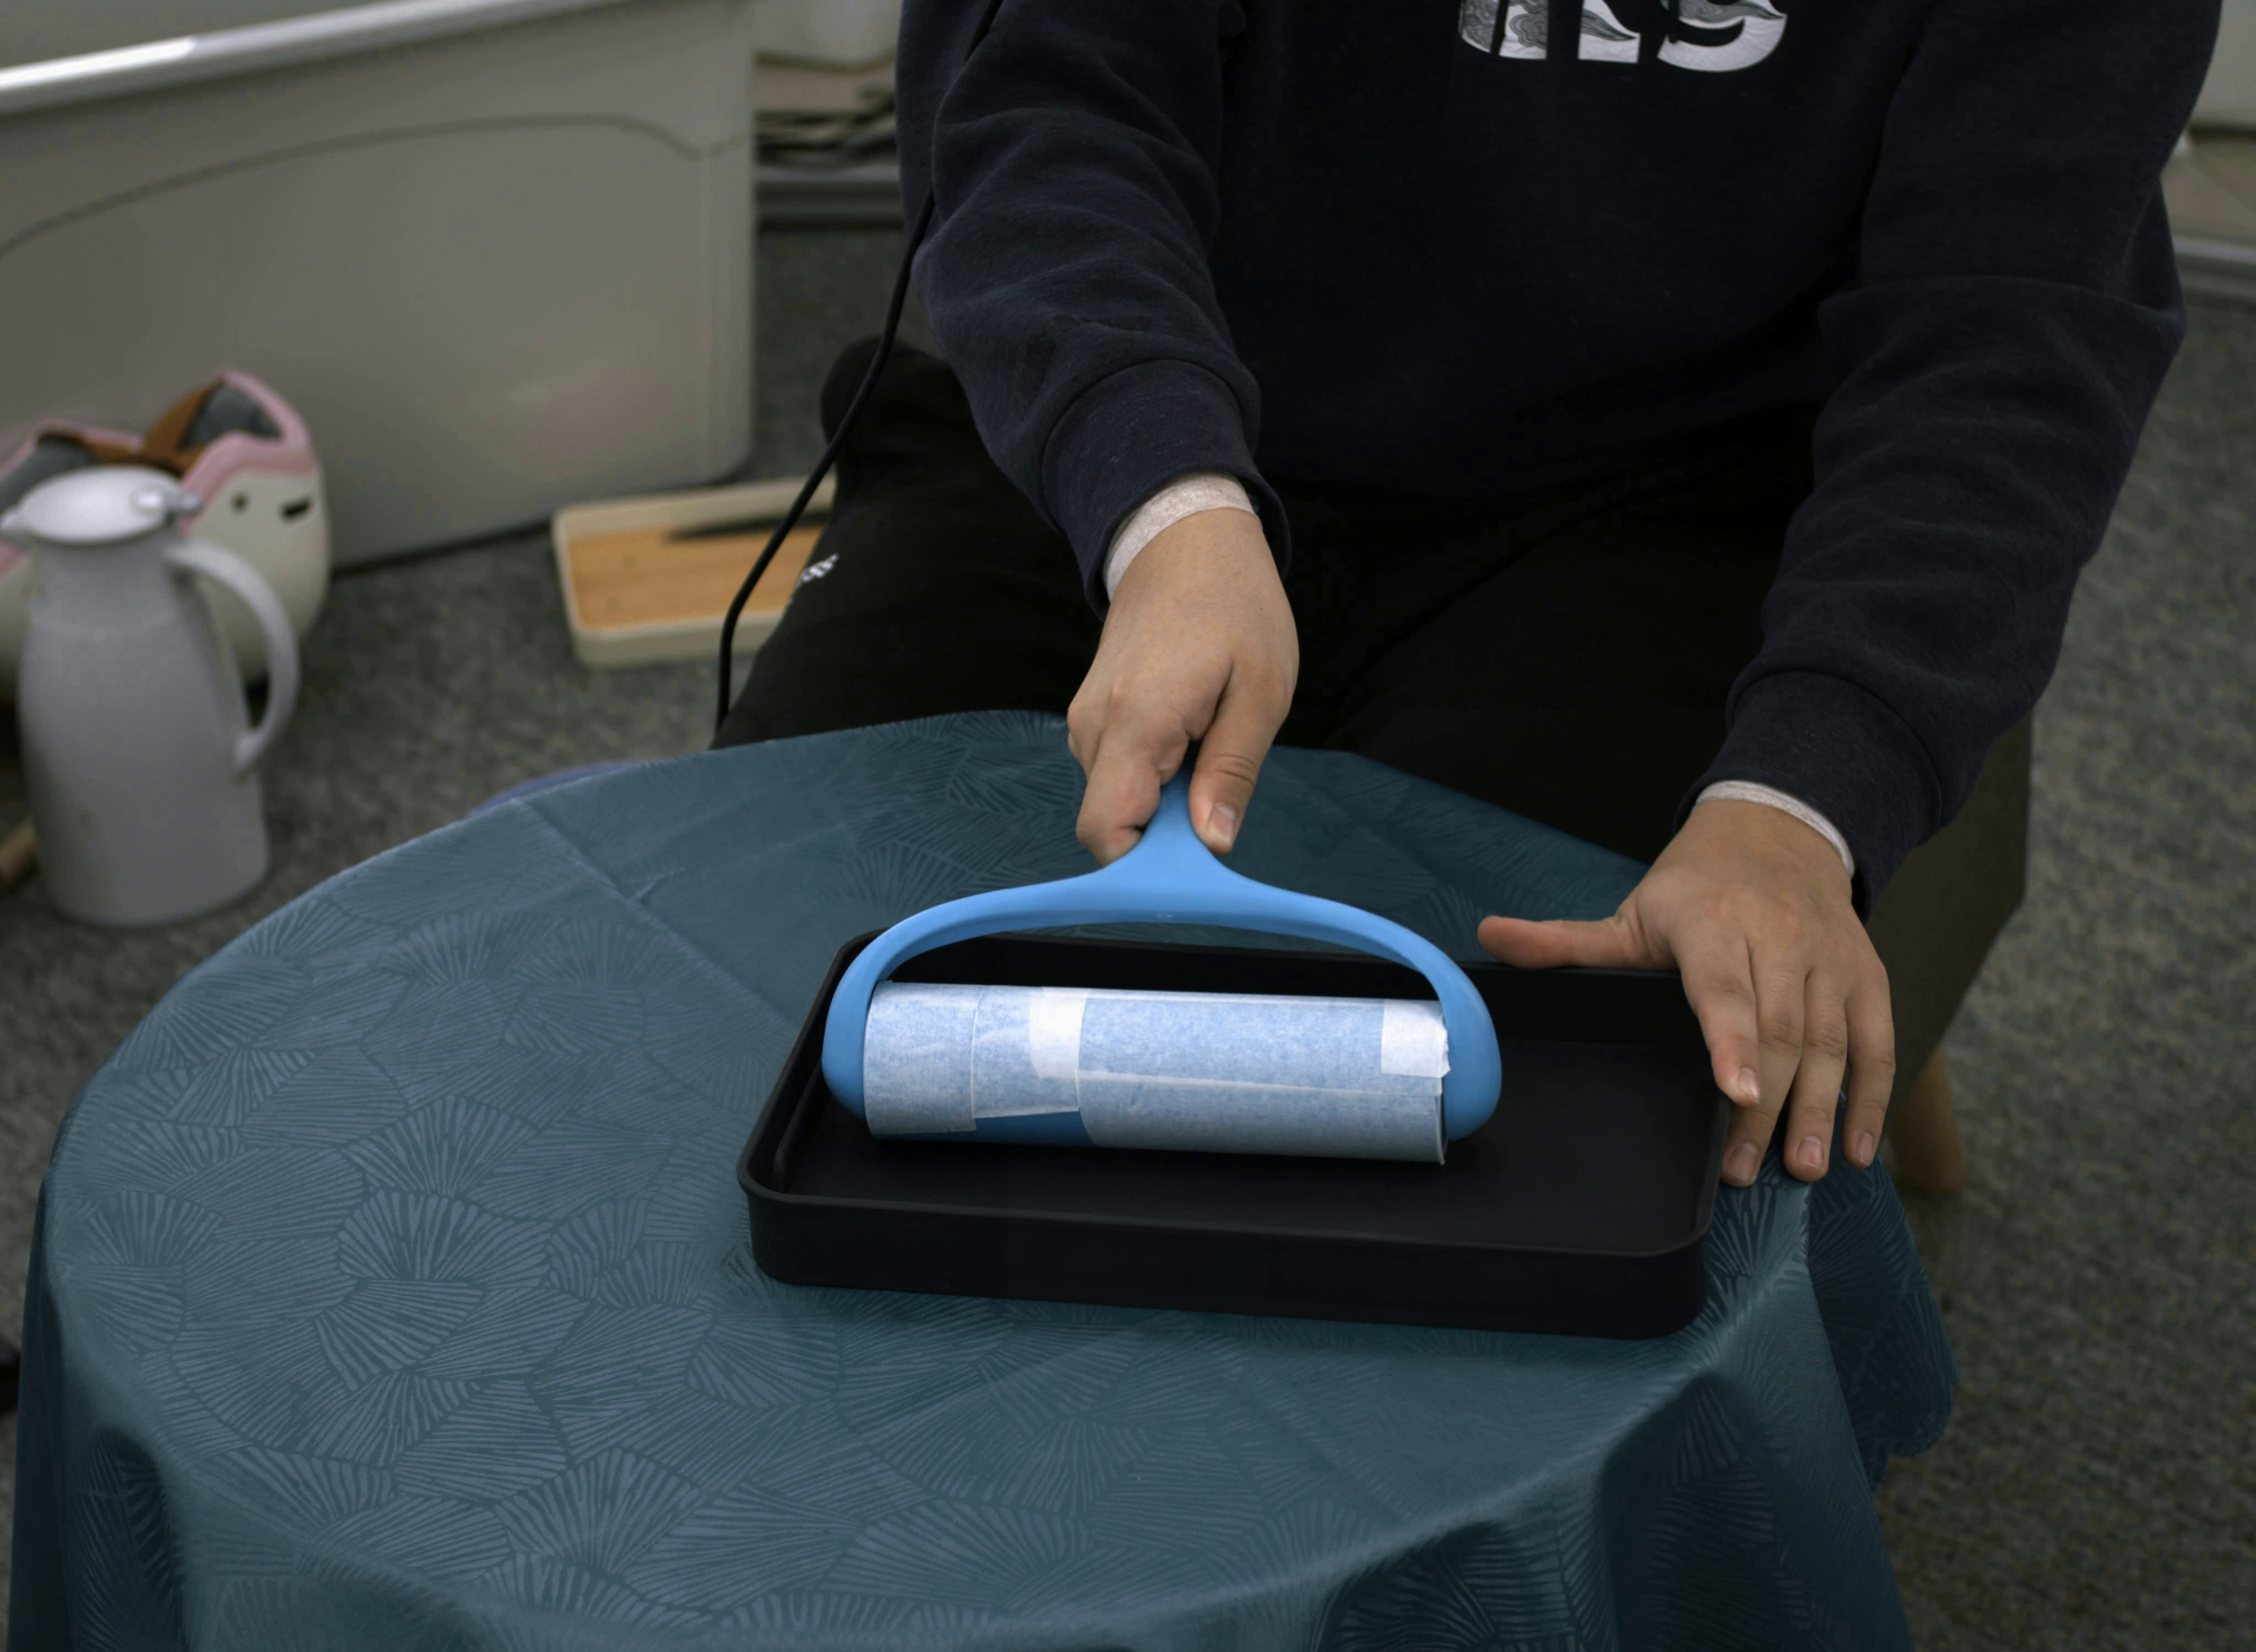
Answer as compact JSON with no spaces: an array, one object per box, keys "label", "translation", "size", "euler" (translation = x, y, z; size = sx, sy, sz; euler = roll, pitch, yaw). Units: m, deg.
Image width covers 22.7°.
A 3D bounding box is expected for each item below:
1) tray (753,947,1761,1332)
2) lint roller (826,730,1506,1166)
[{"label":"tray","translation":[0.047,0.102,1.867],"size":[0.316,0.036,0.187],"euler":[1,28,11]},{"label":"lint roller","translation":[0.015,0.031,1.903],"size":[0.227,0.067,0.184],"euler":[-1,58,8]}]
